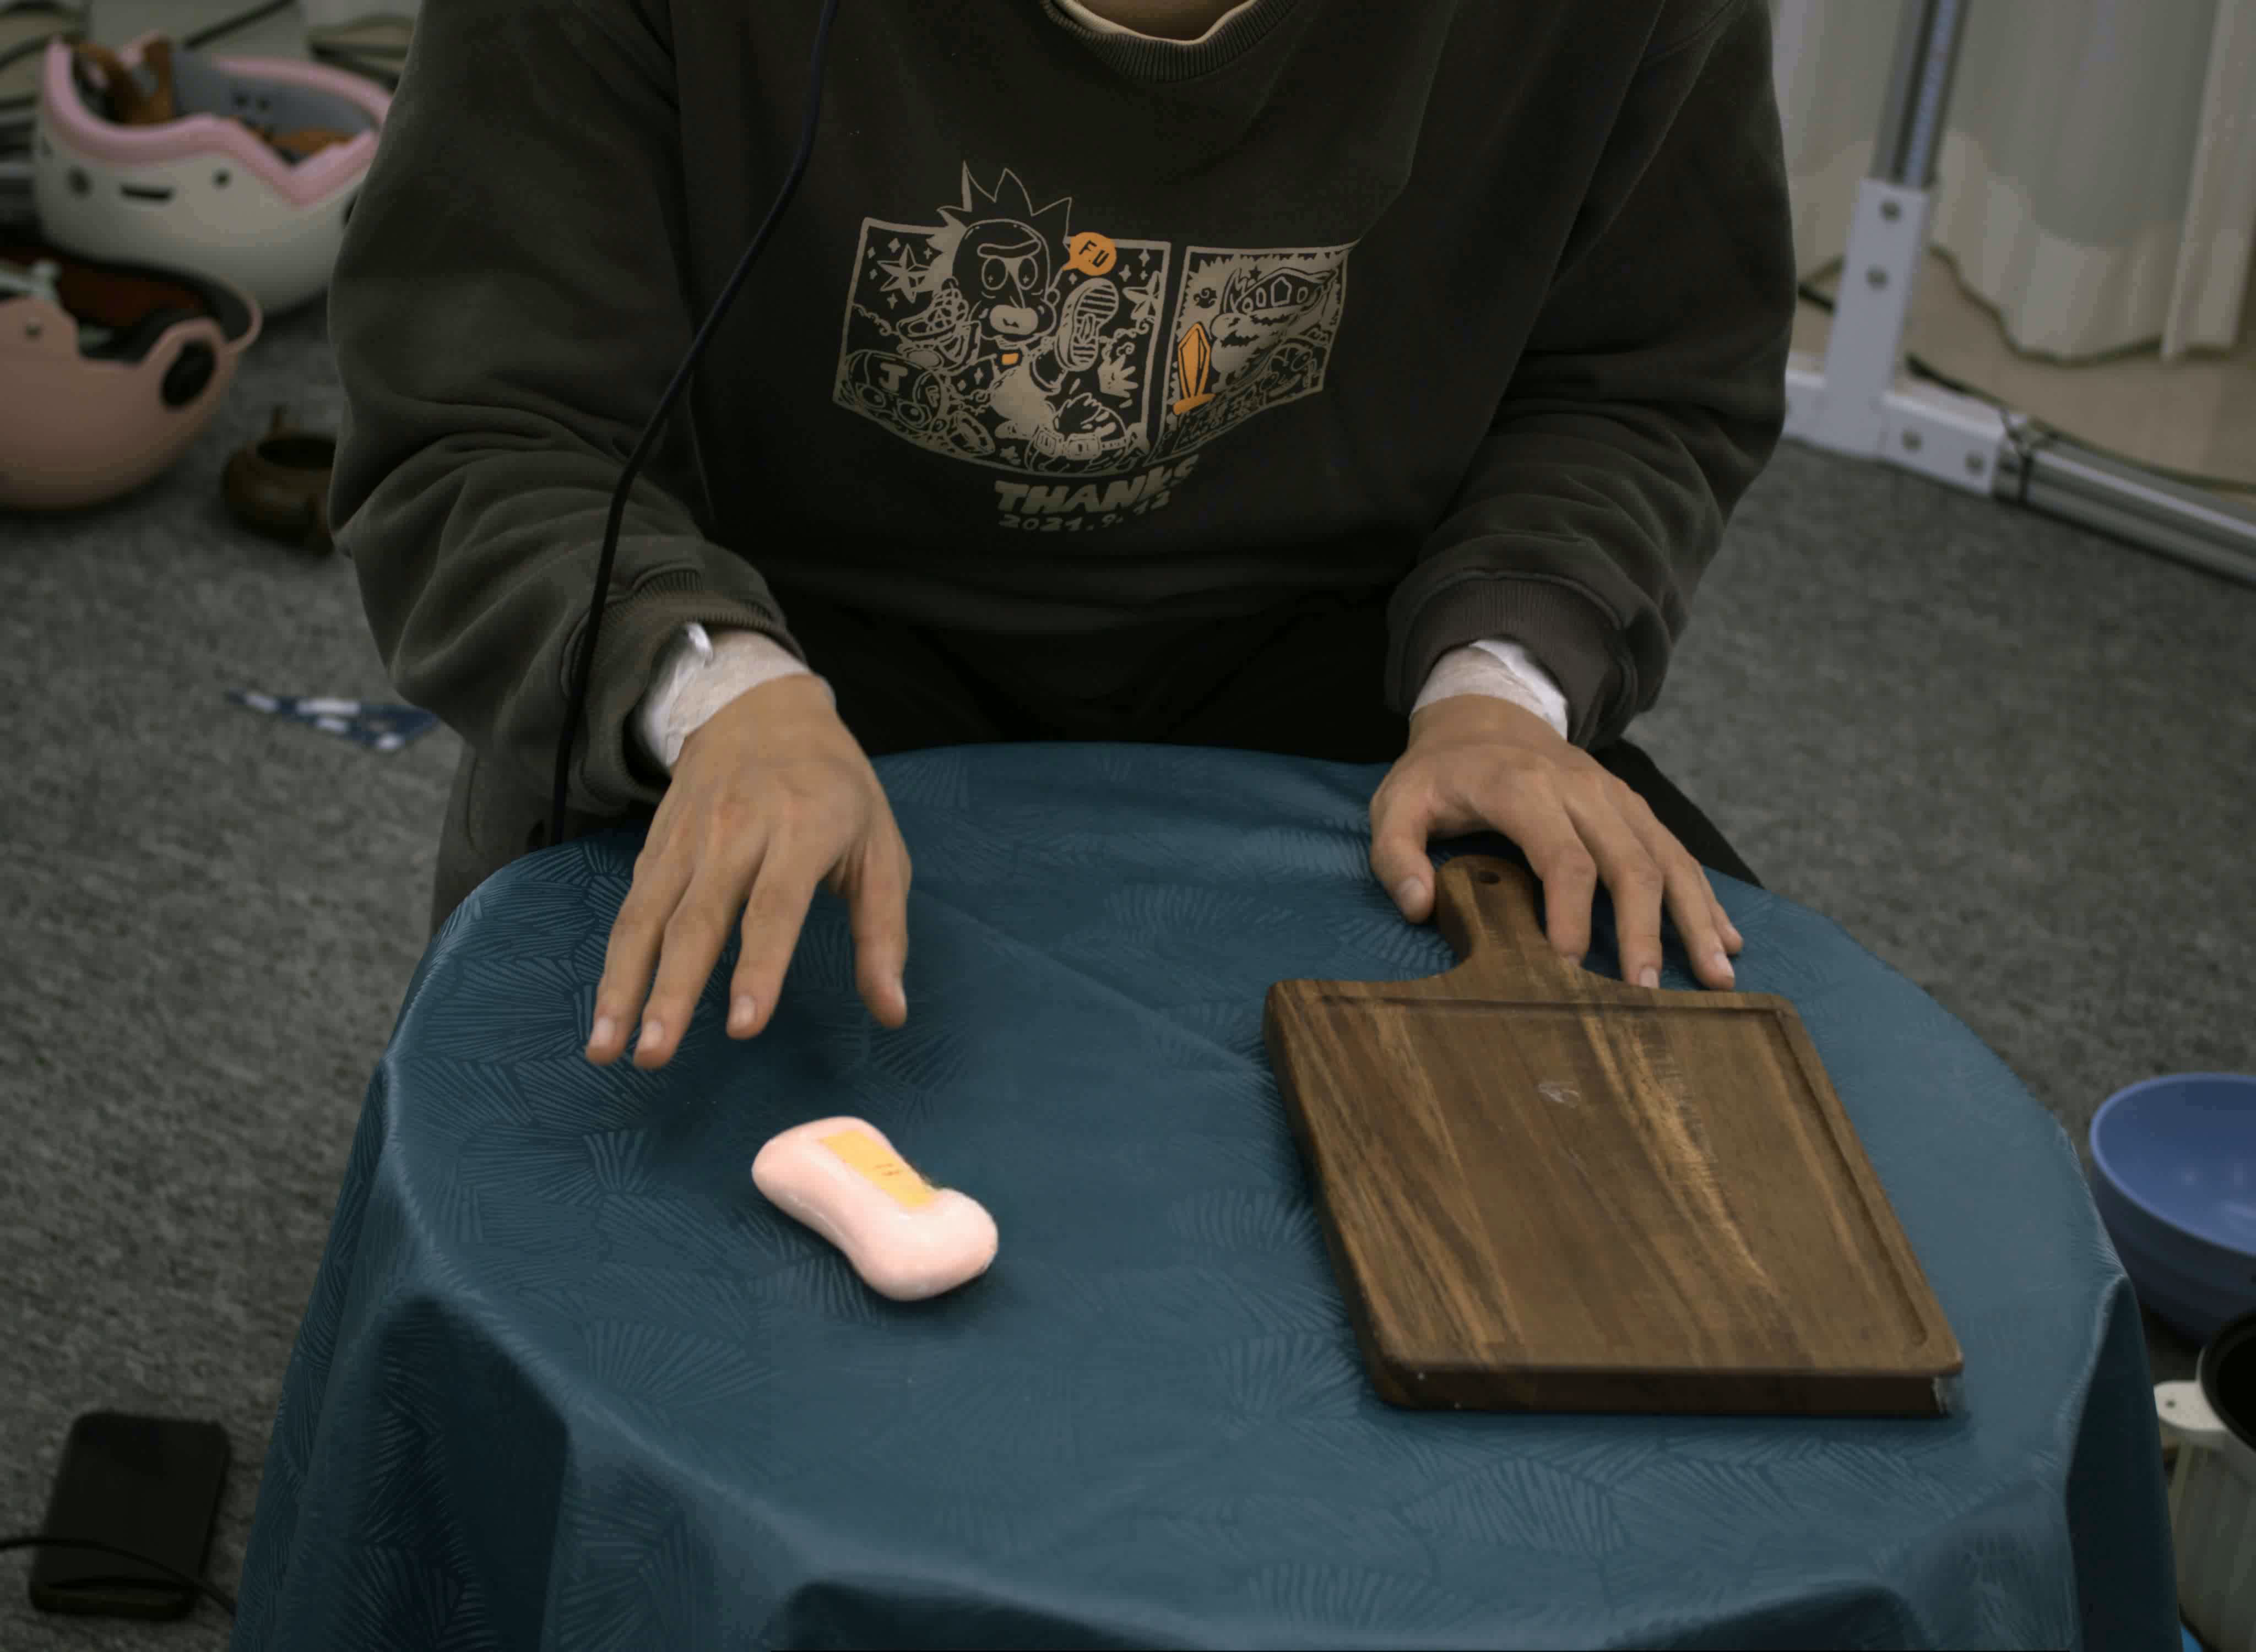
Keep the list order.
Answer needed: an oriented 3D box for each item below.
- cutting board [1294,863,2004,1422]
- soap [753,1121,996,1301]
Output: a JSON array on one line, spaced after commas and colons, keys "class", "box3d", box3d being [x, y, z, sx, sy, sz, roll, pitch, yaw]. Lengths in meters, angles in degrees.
[{"class": "cutting board", "box3d": [0.166, 0.103, 1.859, 0.200, 0.023, 0.355, 2, 27, -8]}, {"class": "soap", "box3d": [-0.084, 0.126, 1.749, 0.050, 0.030, 0.095, -12, 30, -34]}]
